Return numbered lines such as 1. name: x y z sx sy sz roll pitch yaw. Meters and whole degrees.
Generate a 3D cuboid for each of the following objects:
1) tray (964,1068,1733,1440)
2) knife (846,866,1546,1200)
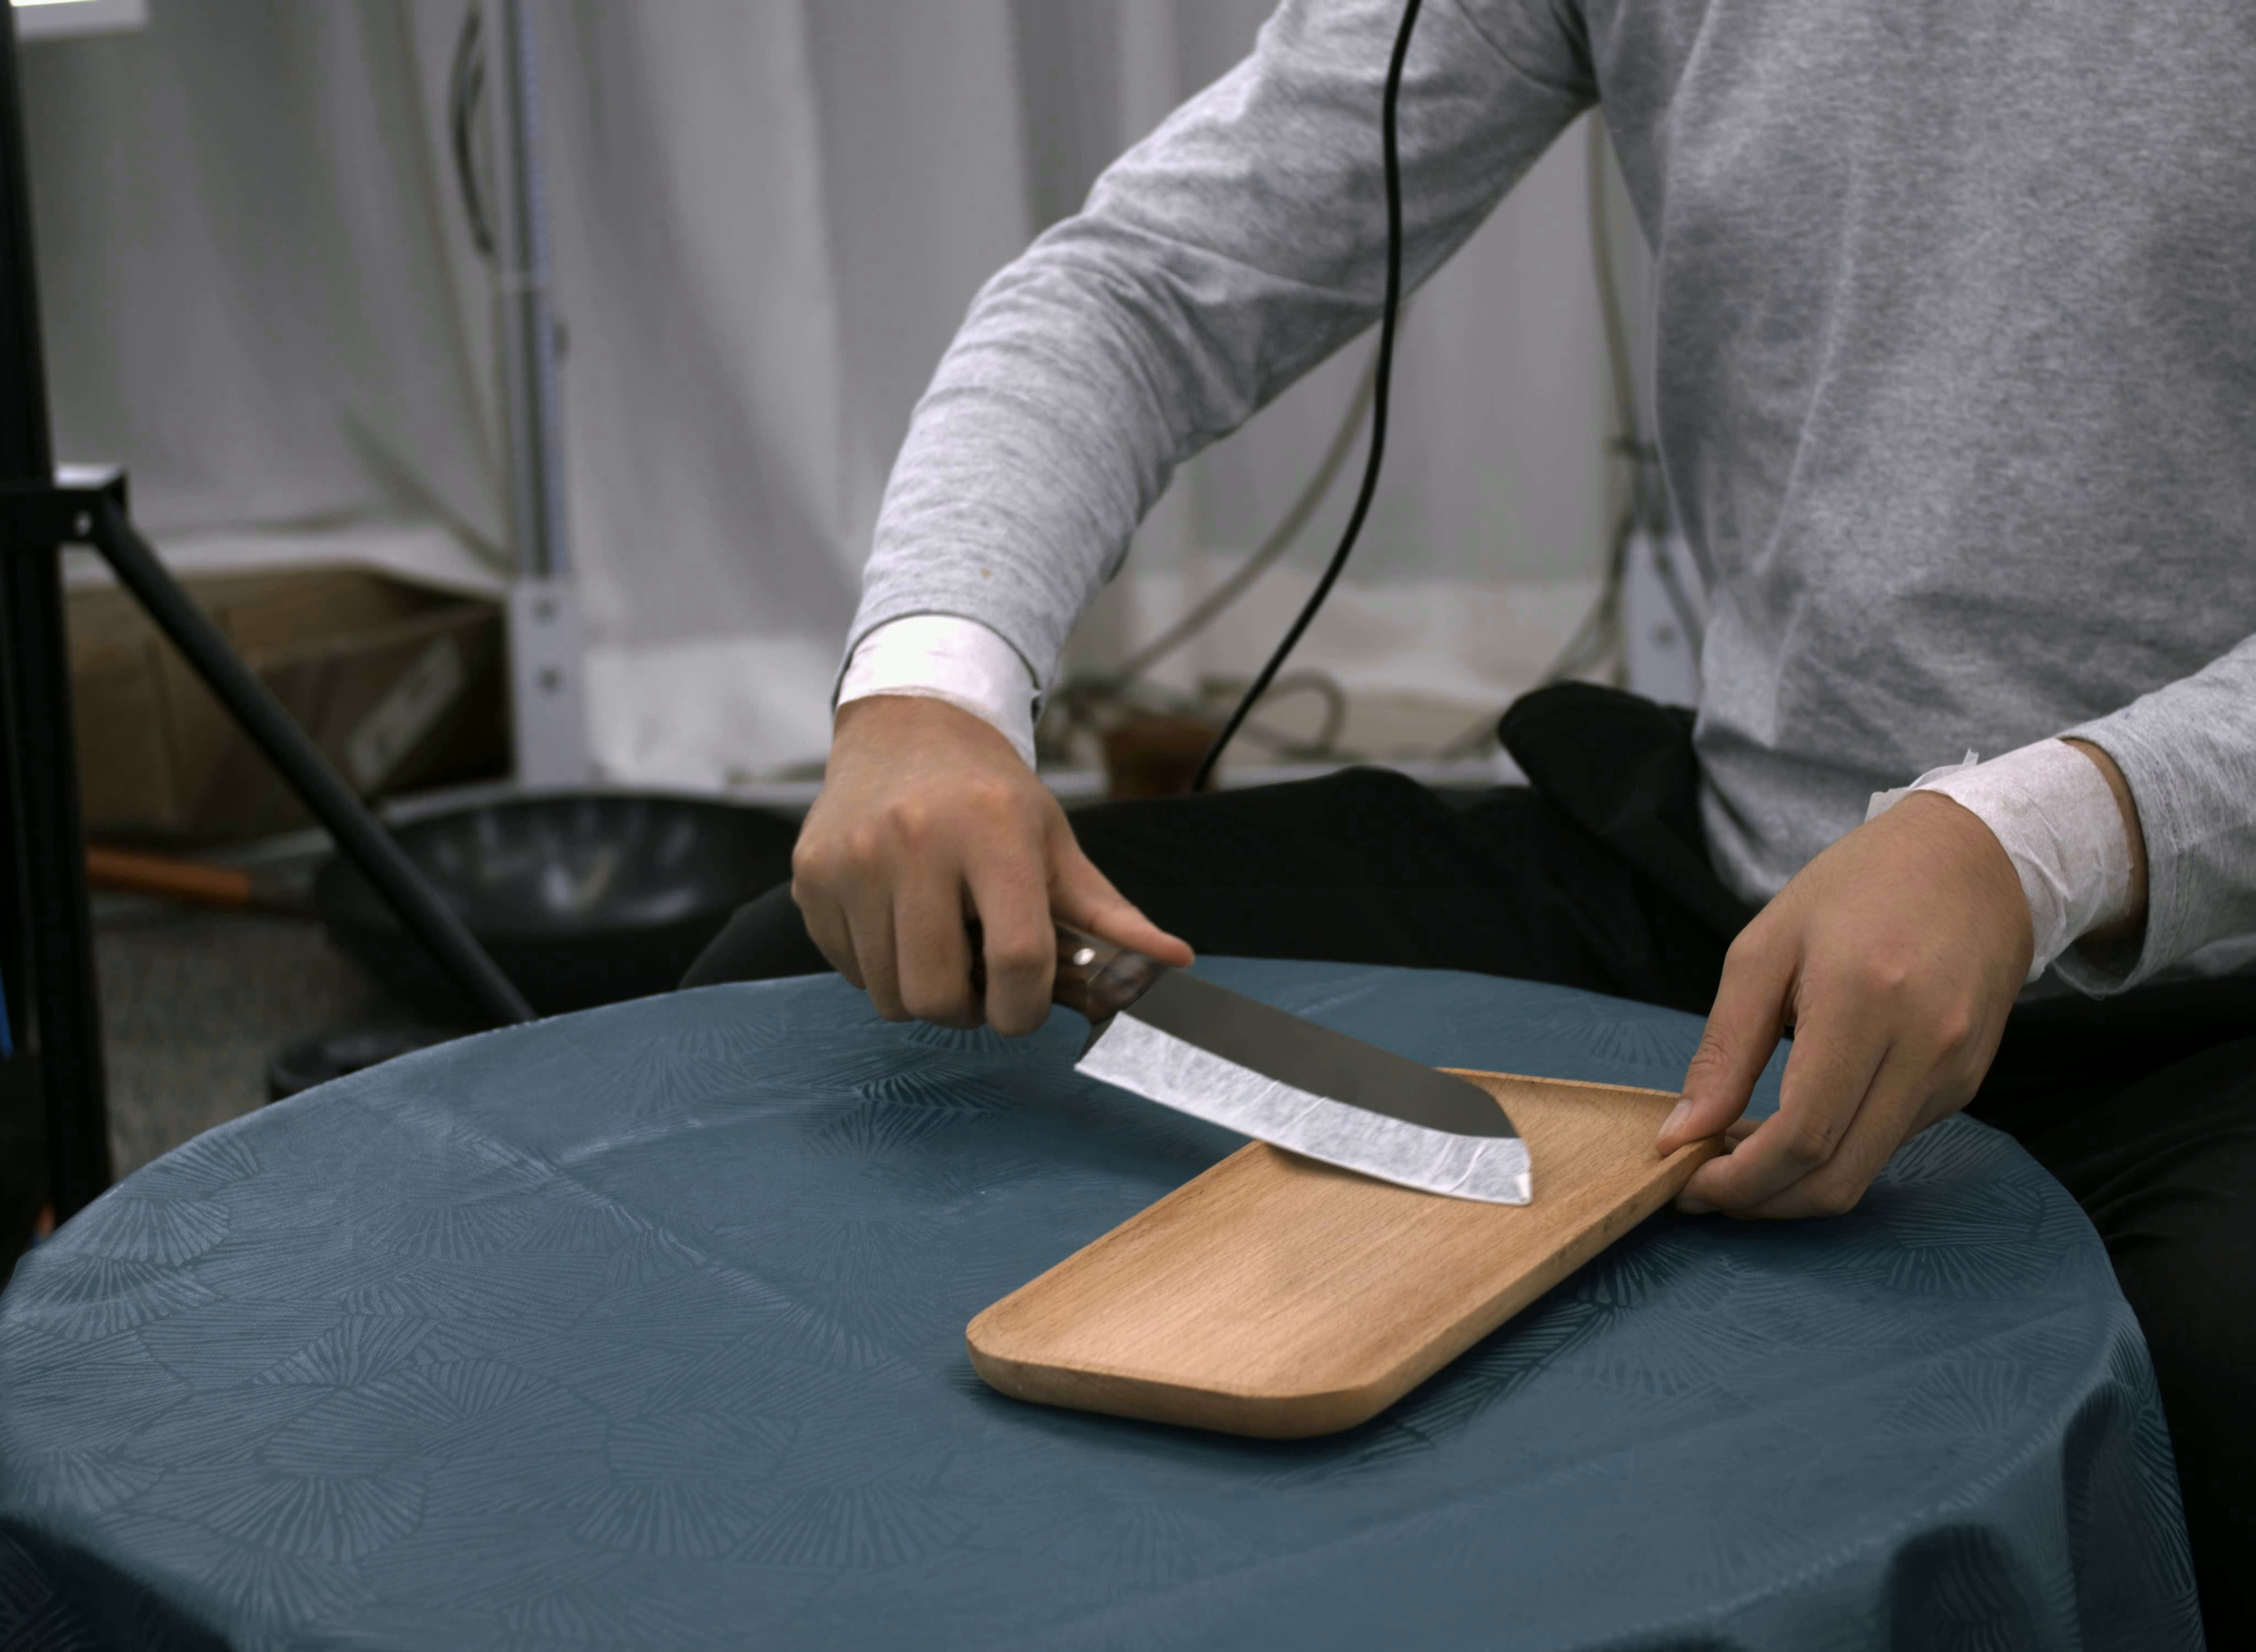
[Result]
1. tray: 0.066 0.116 1.477 0.133 0.023 0.246 8 19 33
2. knife: 0.016 0.061 1.594 0.296 0.019 0.050 22 63 42
